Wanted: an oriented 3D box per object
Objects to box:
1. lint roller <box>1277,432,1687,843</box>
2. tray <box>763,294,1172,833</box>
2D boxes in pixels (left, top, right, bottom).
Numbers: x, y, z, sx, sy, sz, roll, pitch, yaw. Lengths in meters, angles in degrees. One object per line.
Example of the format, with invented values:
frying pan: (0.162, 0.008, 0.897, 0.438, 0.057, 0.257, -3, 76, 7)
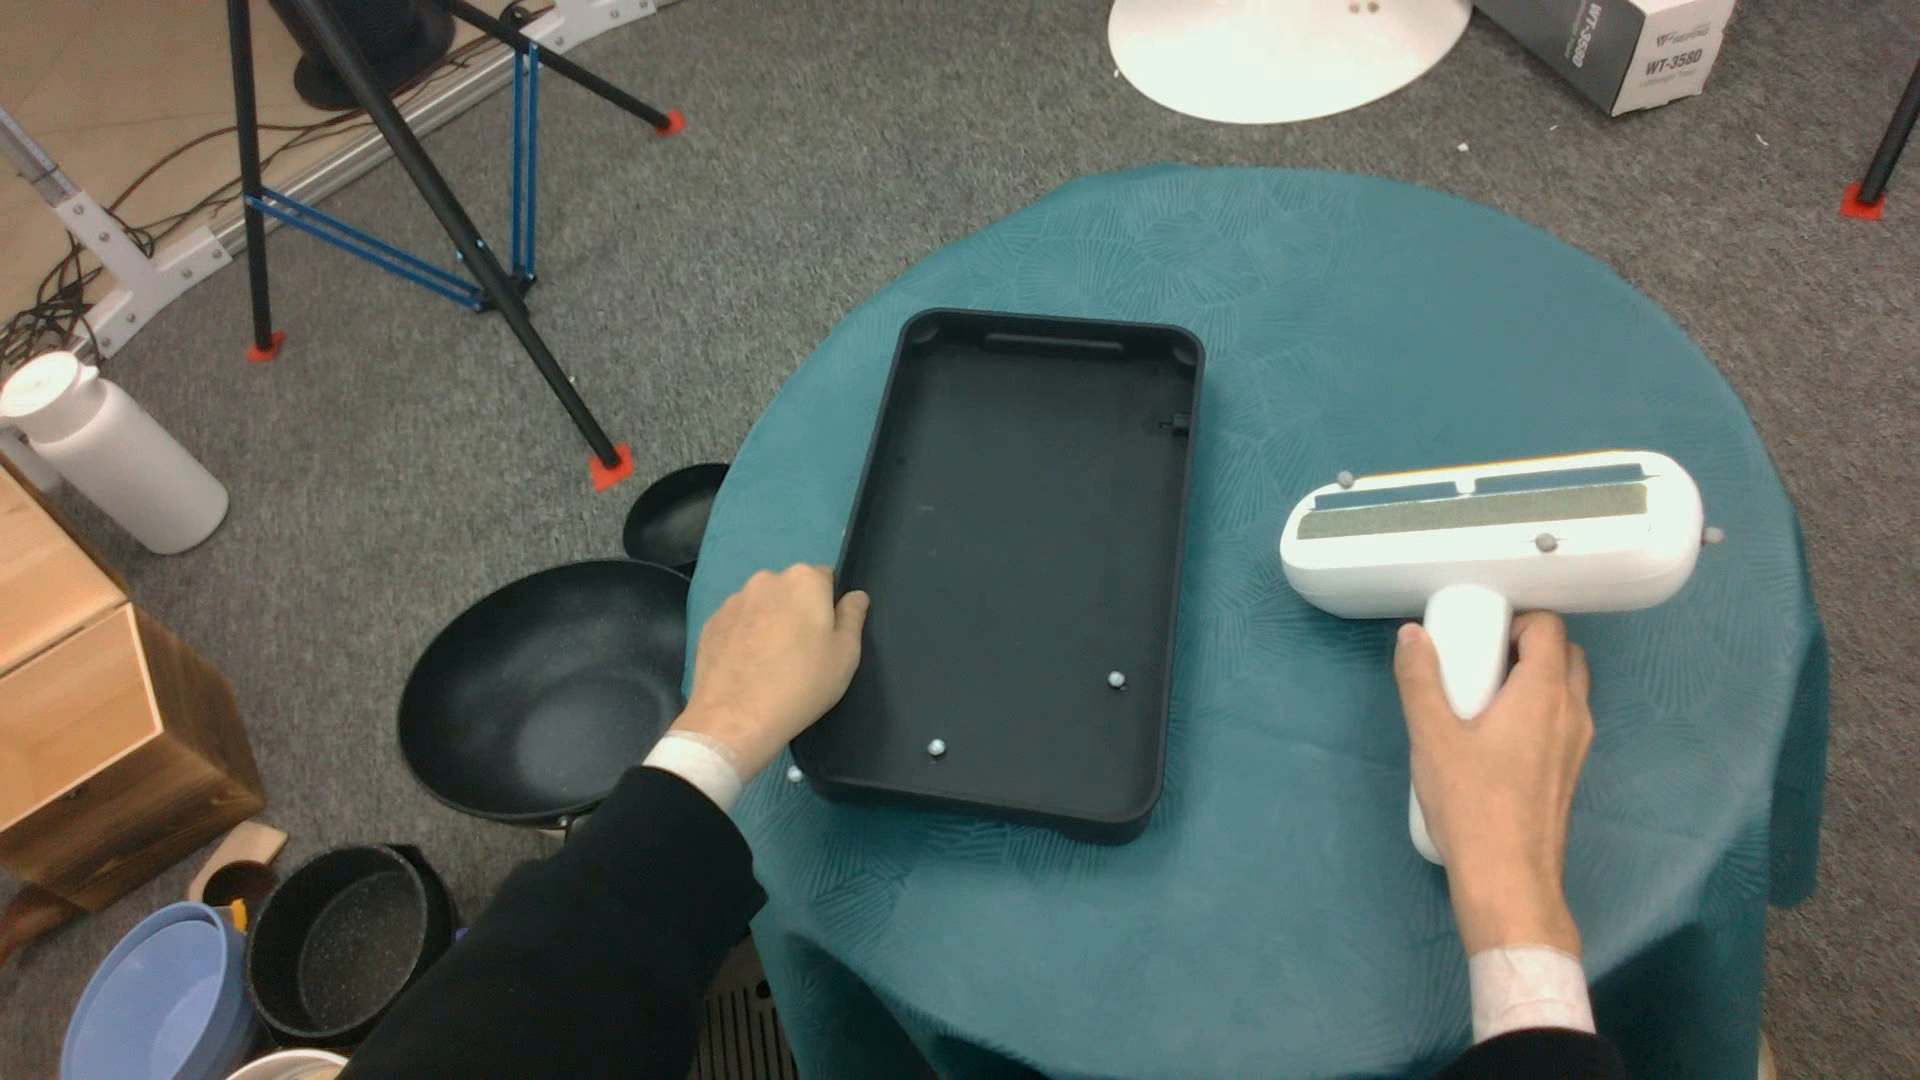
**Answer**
lint roller: (0.224, 0.042, 0.638, 0.192, 0.074, 0.193, 1, 61, 45)
tray: (0.014, -0.002, 0.746, 0.184, 0.037, 0.319, 6, 56, 5)
